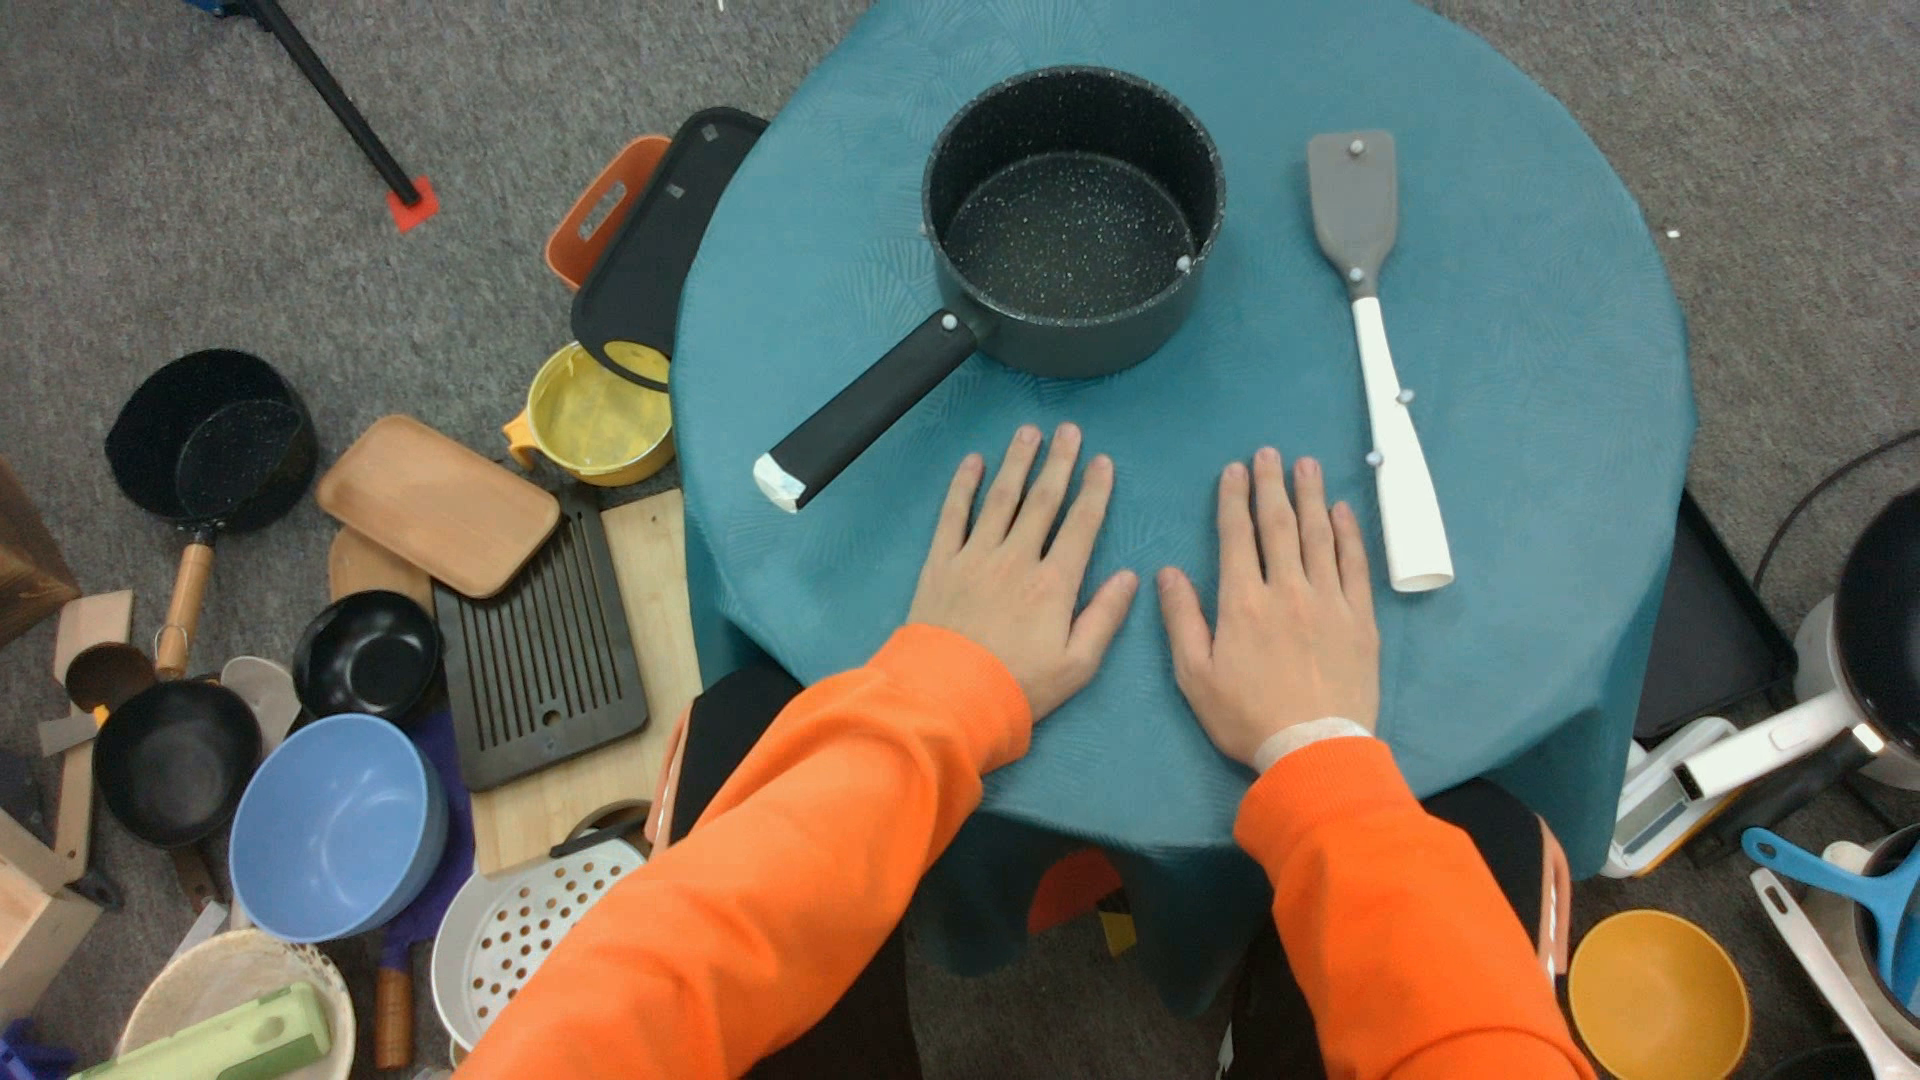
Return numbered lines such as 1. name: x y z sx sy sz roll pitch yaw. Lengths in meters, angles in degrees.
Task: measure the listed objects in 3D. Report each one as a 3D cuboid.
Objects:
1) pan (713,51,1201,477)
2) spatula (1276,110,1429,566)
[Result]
1. pan: -0.004 -0.140 0.785 0.172 0.086 0.329 41 74 16
2. spatula: 0.230 -0.125 0.801 0.058 0.032 0.288 -6 69 6
